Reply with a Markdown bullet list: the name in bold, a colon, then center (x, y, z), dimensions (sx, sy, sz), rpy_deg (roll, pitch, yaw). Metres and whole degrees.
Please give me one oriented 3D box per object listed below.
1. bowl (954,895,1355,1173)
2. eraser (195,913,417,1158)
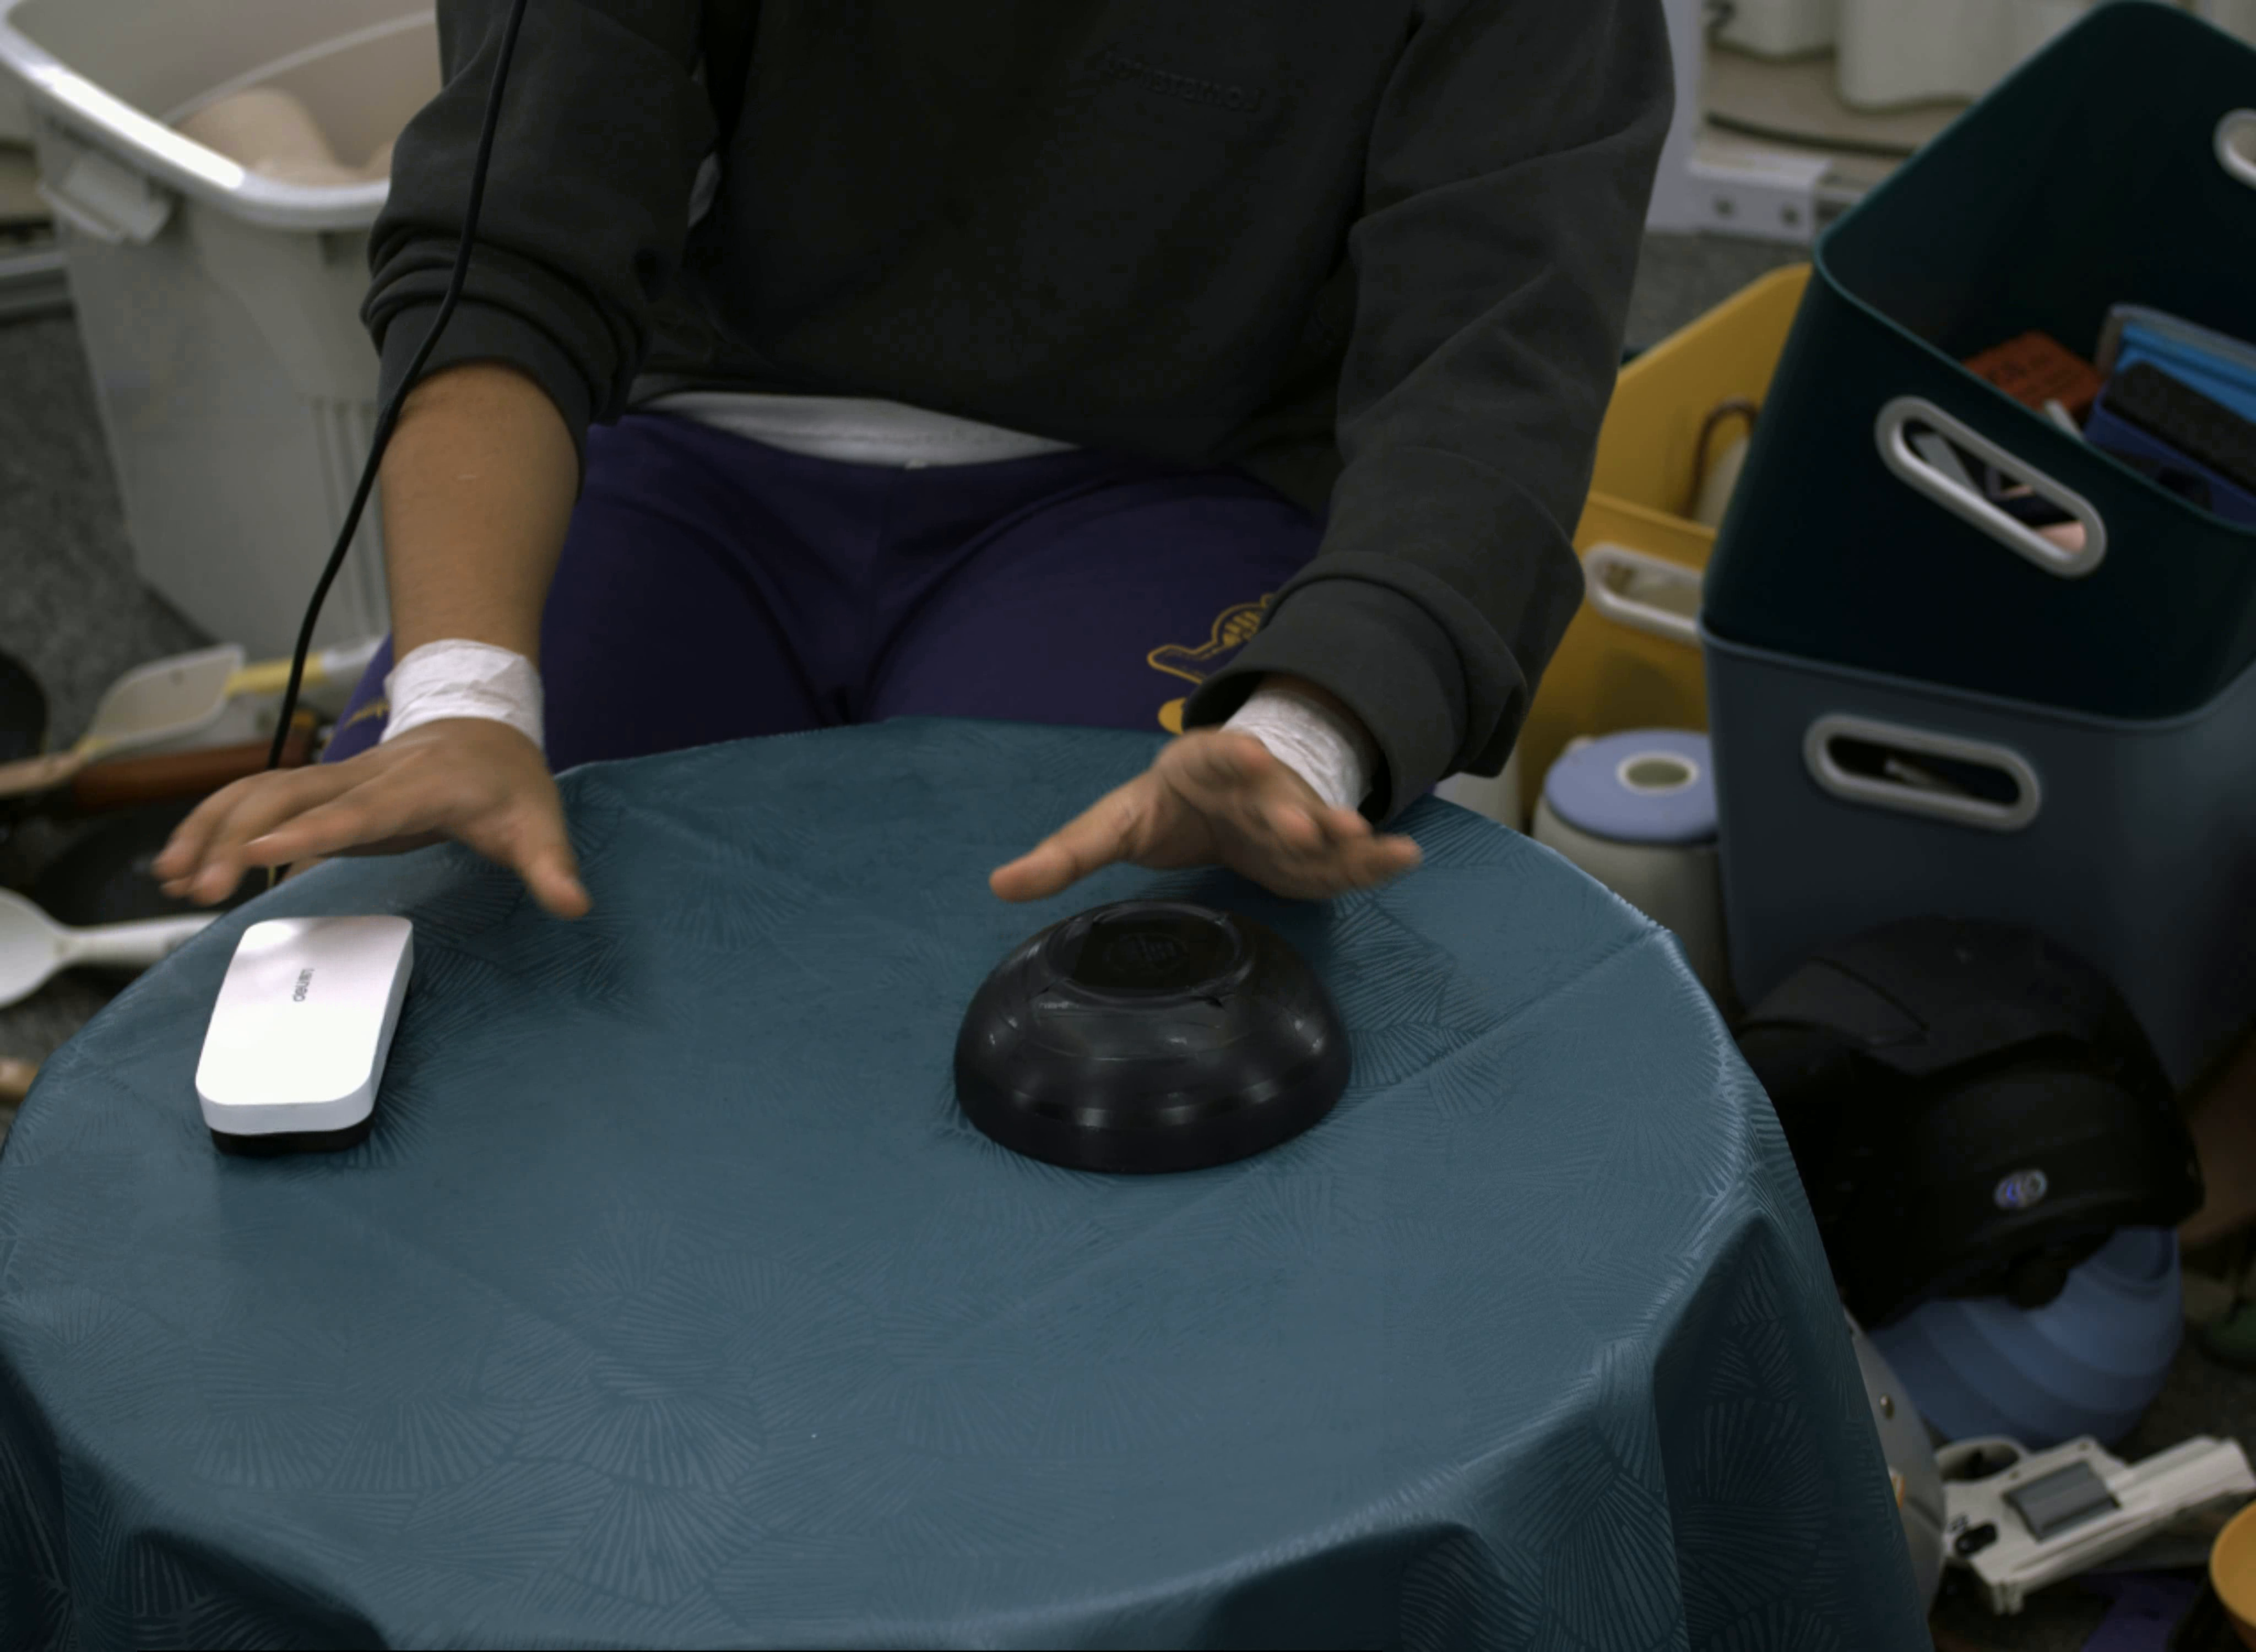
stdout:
- **bowl**: center (0.007, 0.062, 1.921), dimensions (0.139, 0.049, 0.142), rpy_deg (-3, 28, 2)
- **eraser**: center (-0.283, 0.070, 1.956), dimensions (0.063, 0.034, 0.133), rpy_deg (0, 29, 3)
